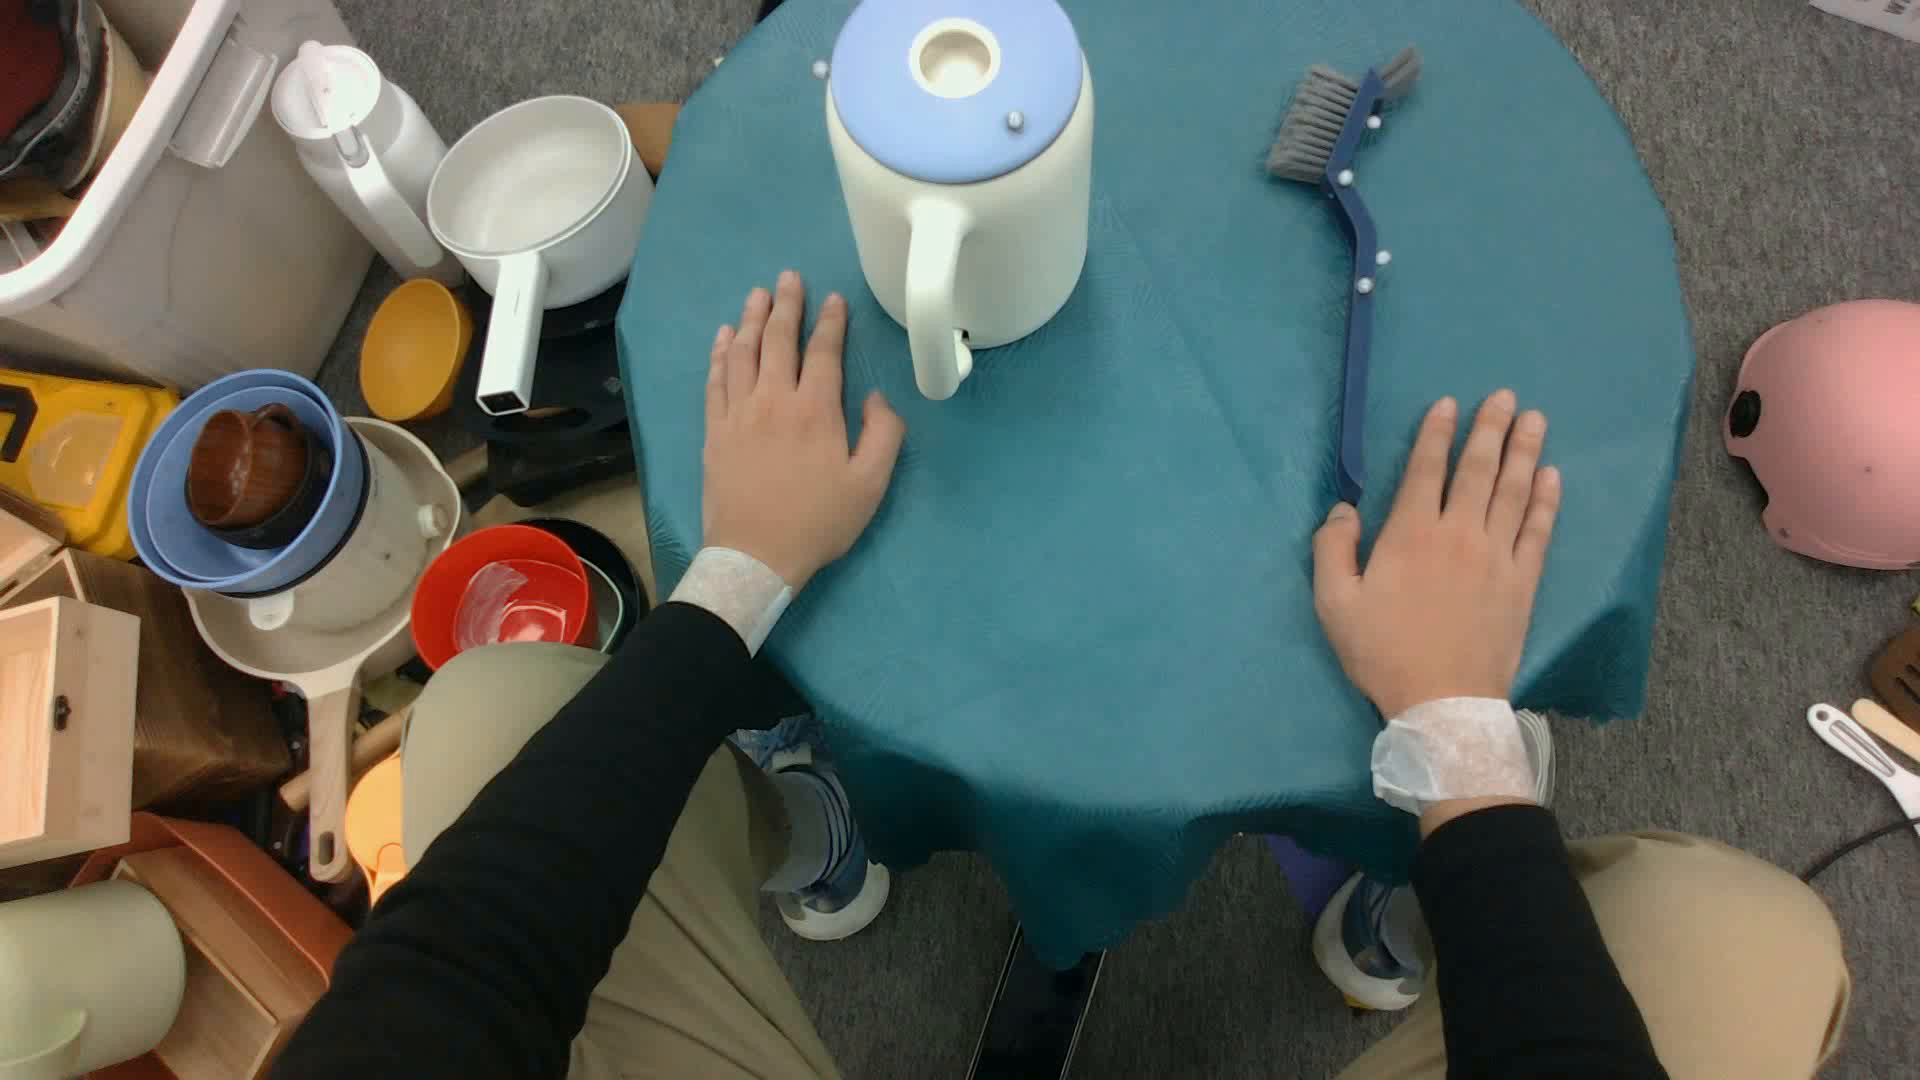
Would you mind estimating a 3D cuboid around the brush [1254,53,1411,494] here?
[{"bbox_3d":[0.218,-0.157,0.773,0.096,0.033,0.274,0,71,-1],"label":"brush"}]

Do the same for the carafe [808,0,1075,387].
[{"bbox_3d":[-0.010,-0.177,0.715,0.132,0.182,0.191,5,74,5],"label":"carafe"}]
